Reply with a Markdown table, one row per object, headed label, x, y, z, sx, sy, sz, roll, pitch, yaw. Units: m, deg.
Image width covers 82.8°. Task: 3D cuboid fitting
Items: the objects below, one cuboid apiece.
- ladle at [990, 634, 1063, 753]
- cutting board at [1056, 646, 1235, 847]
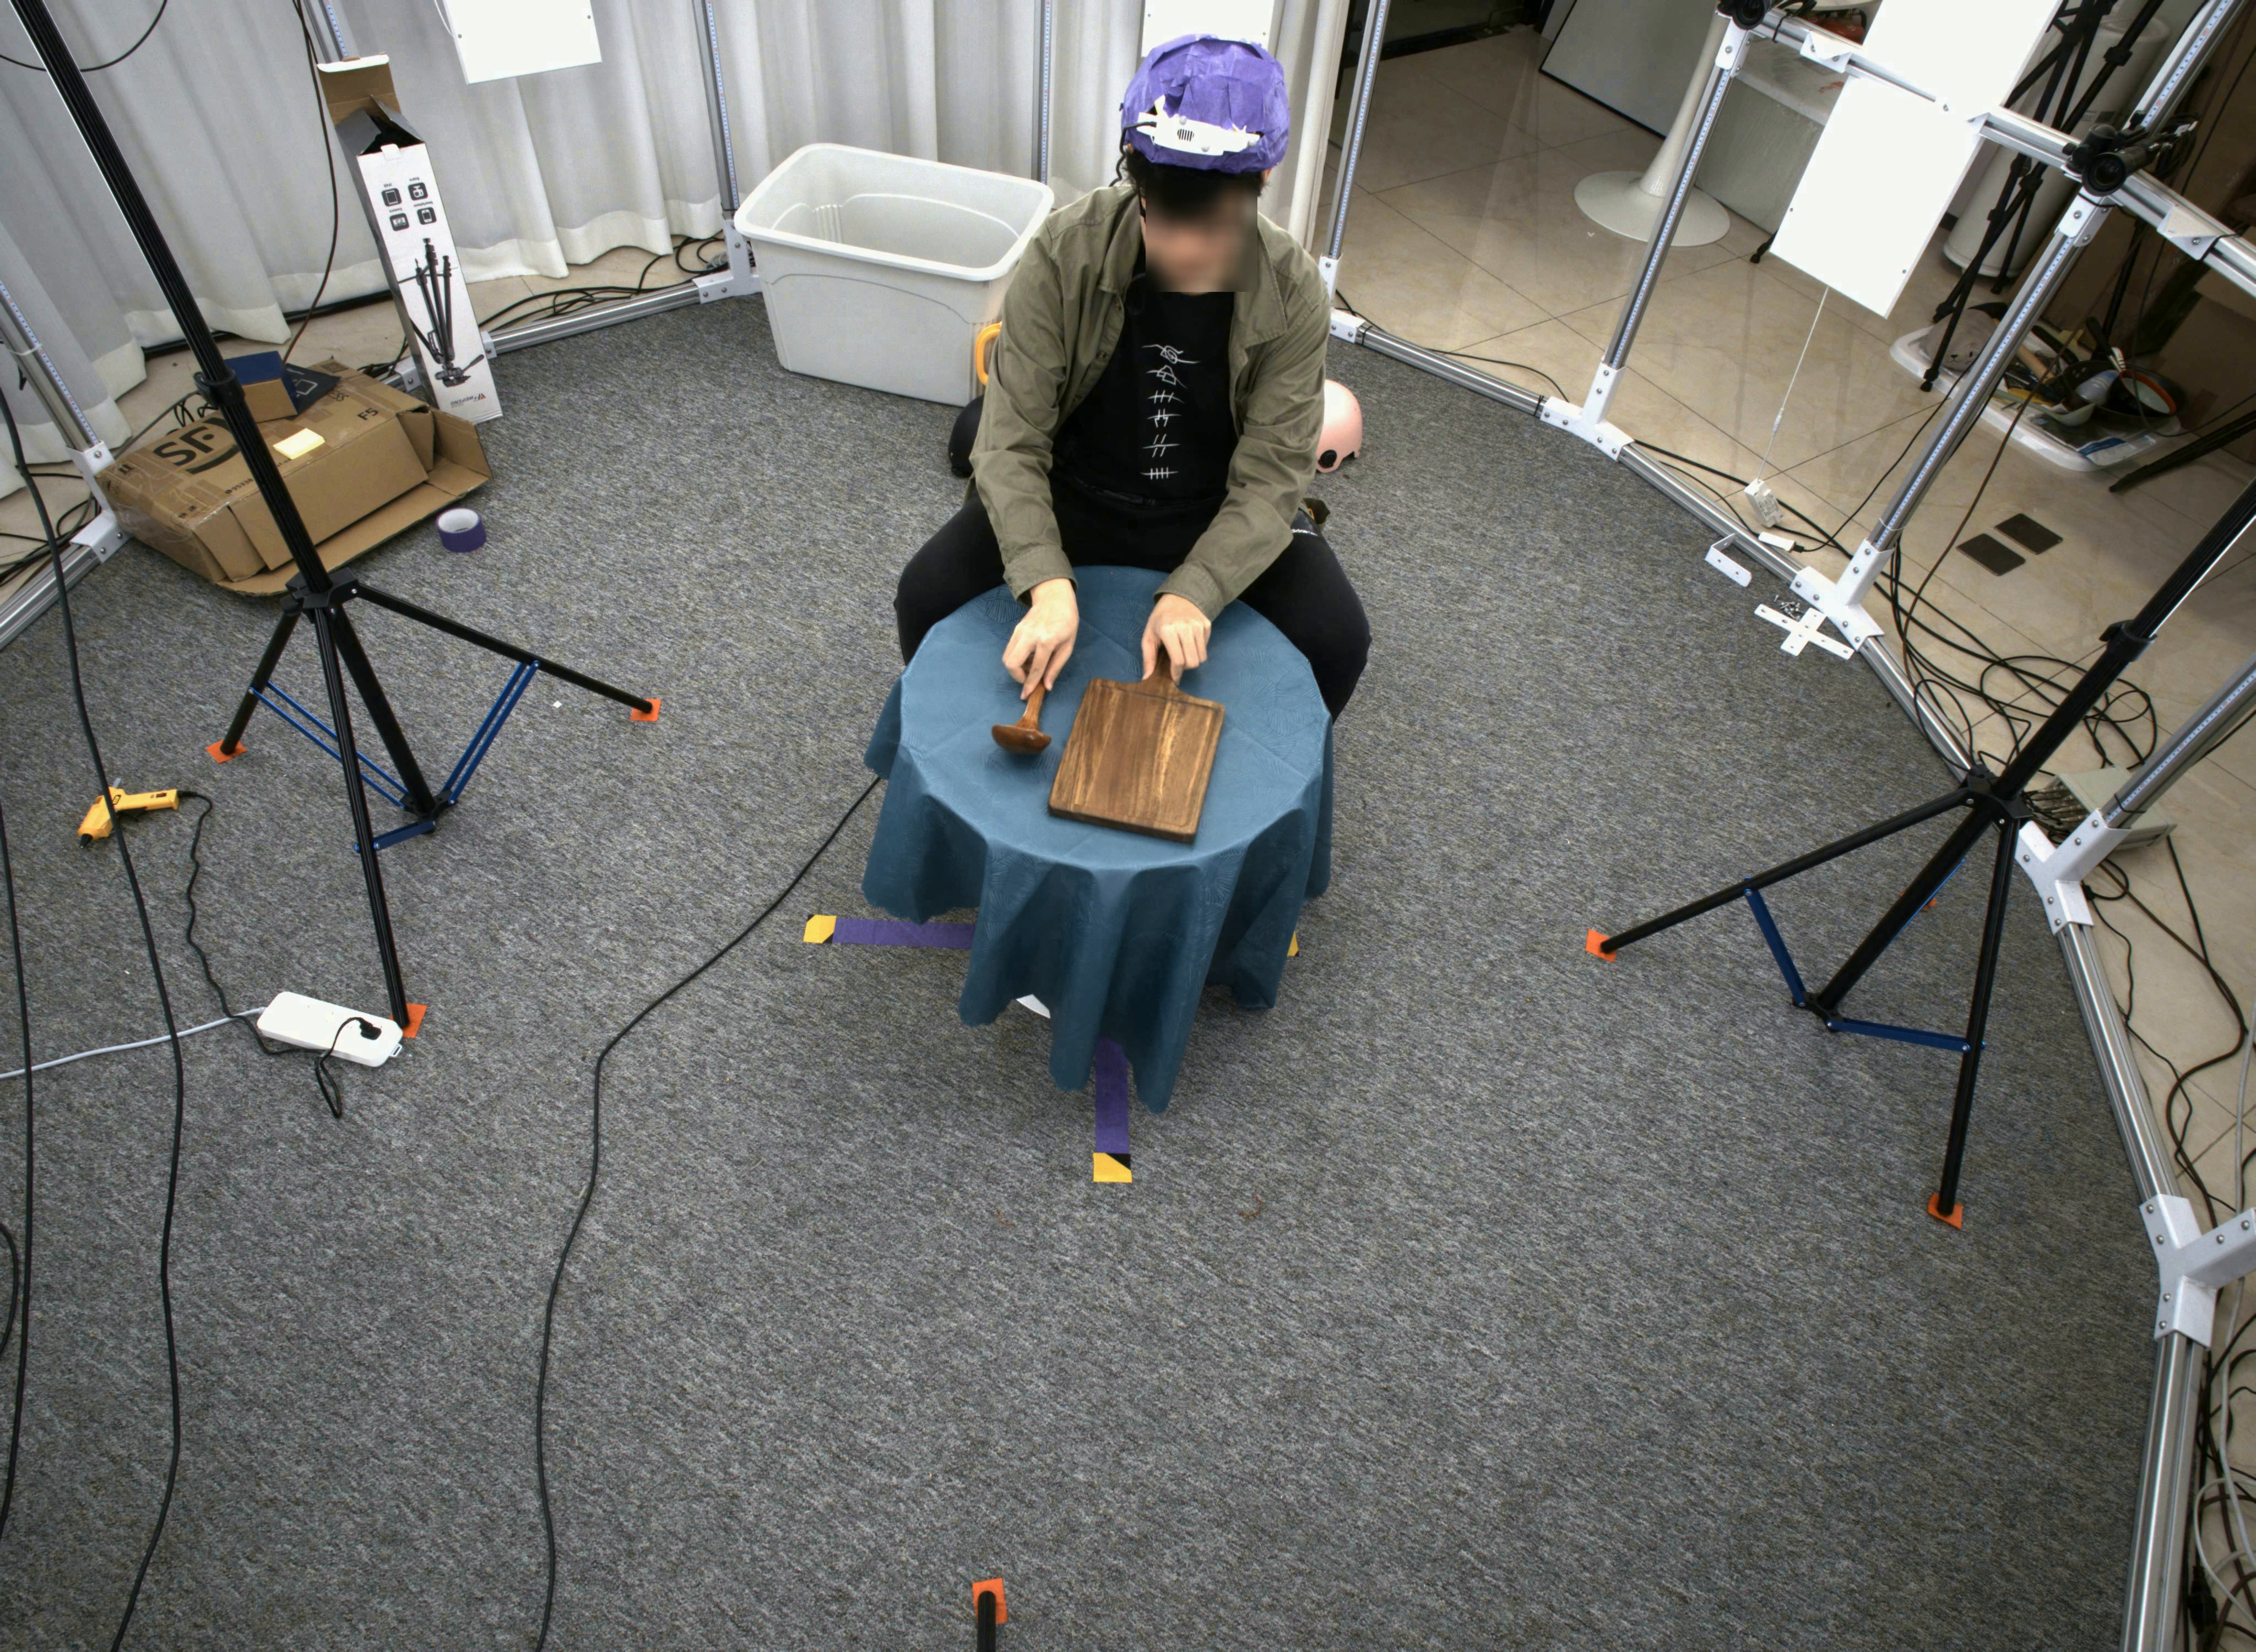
| label | x | y | z | sx | sy | sz | roll | pitch | yaw |
| --- | --- | --- | --- | --- | --- | --- | --- | --- | --- |
| ladle | -0.126 | -0.200 | 1.773 | 0.082 | 0.075 | 0.280 | 14 | 48 | -2 |
| cutting board | 0.039 | -0.127 | 1.758 | 0.201 | 0.022 | 0.360 | 13 | 49 | 6 |
